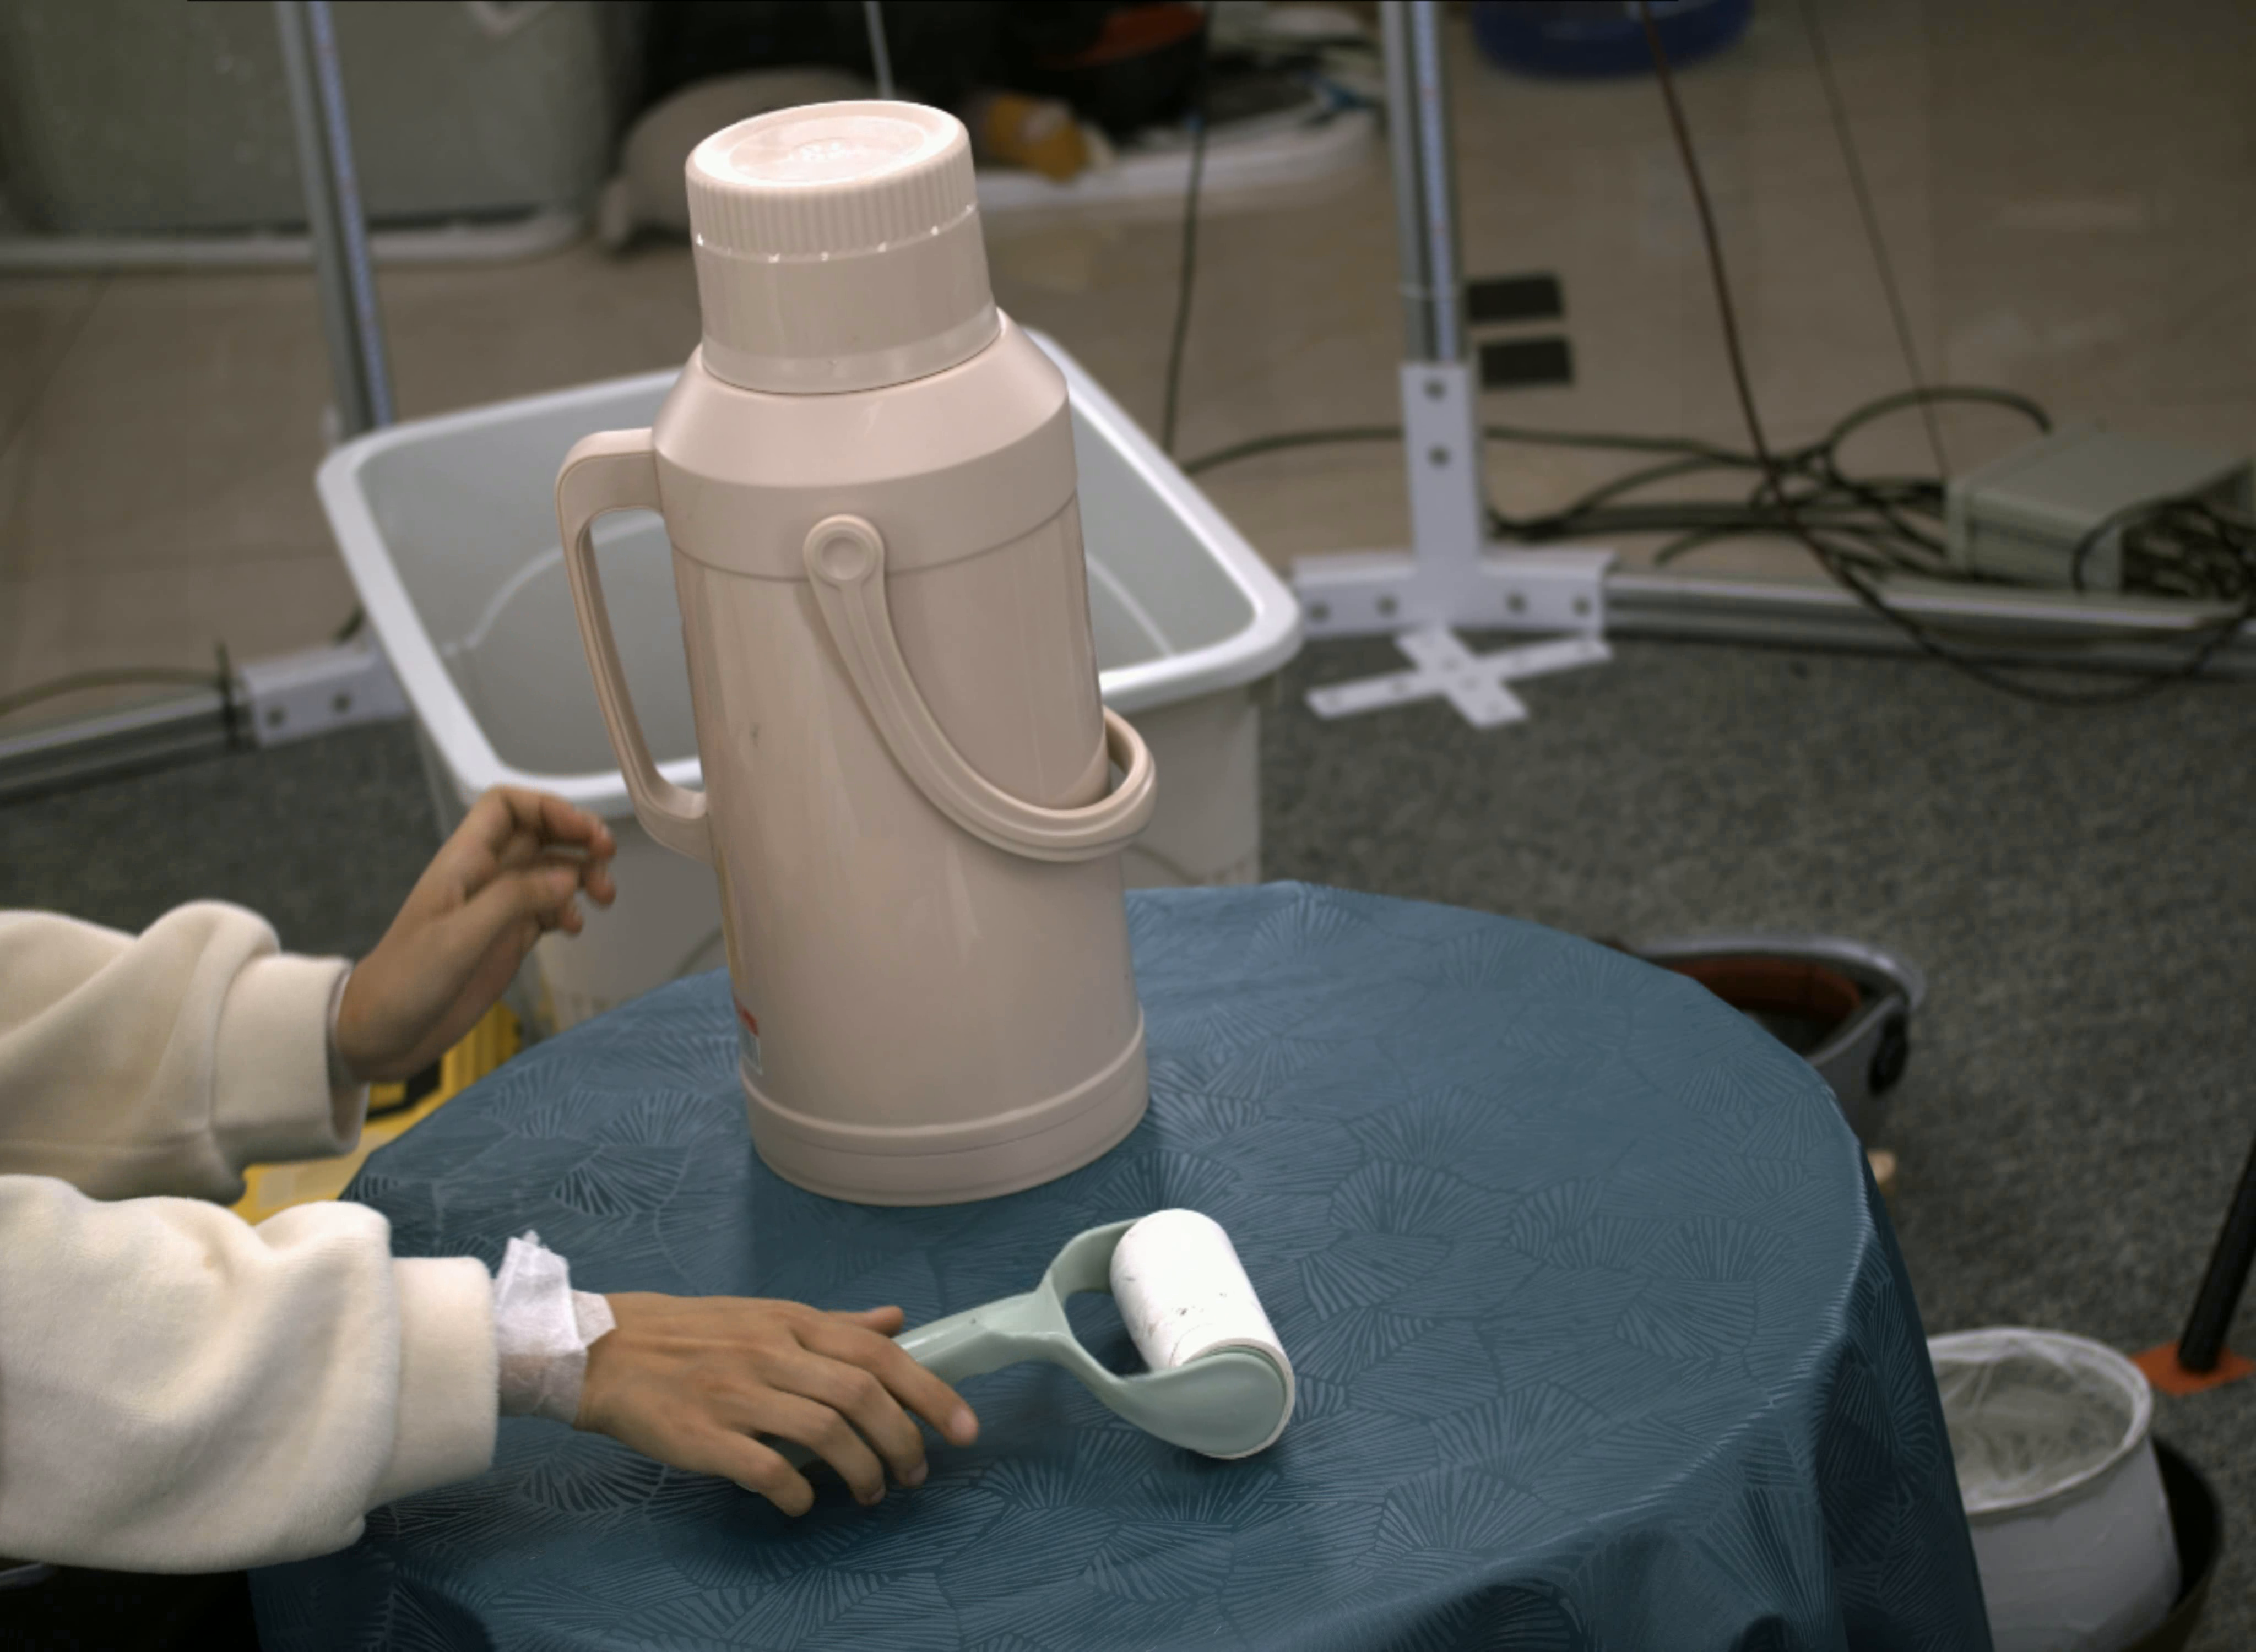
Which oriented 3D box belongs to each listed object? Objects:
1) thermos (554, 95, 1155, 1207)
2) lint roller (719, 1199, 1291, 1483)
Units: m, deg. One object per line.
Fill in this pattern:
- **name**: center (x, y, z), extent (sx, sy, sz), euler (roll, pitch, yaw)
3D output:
- **thermos**: center (-0.103, -0.066, 2.137), extent (0.207, 0.413, 0.172), euler (-4, 26, 5)
- **lint roller**: center (-0.049, 0.188, 1.997), extent (0.197, 0.049, 0.115), euler (-9, 27, -8)
